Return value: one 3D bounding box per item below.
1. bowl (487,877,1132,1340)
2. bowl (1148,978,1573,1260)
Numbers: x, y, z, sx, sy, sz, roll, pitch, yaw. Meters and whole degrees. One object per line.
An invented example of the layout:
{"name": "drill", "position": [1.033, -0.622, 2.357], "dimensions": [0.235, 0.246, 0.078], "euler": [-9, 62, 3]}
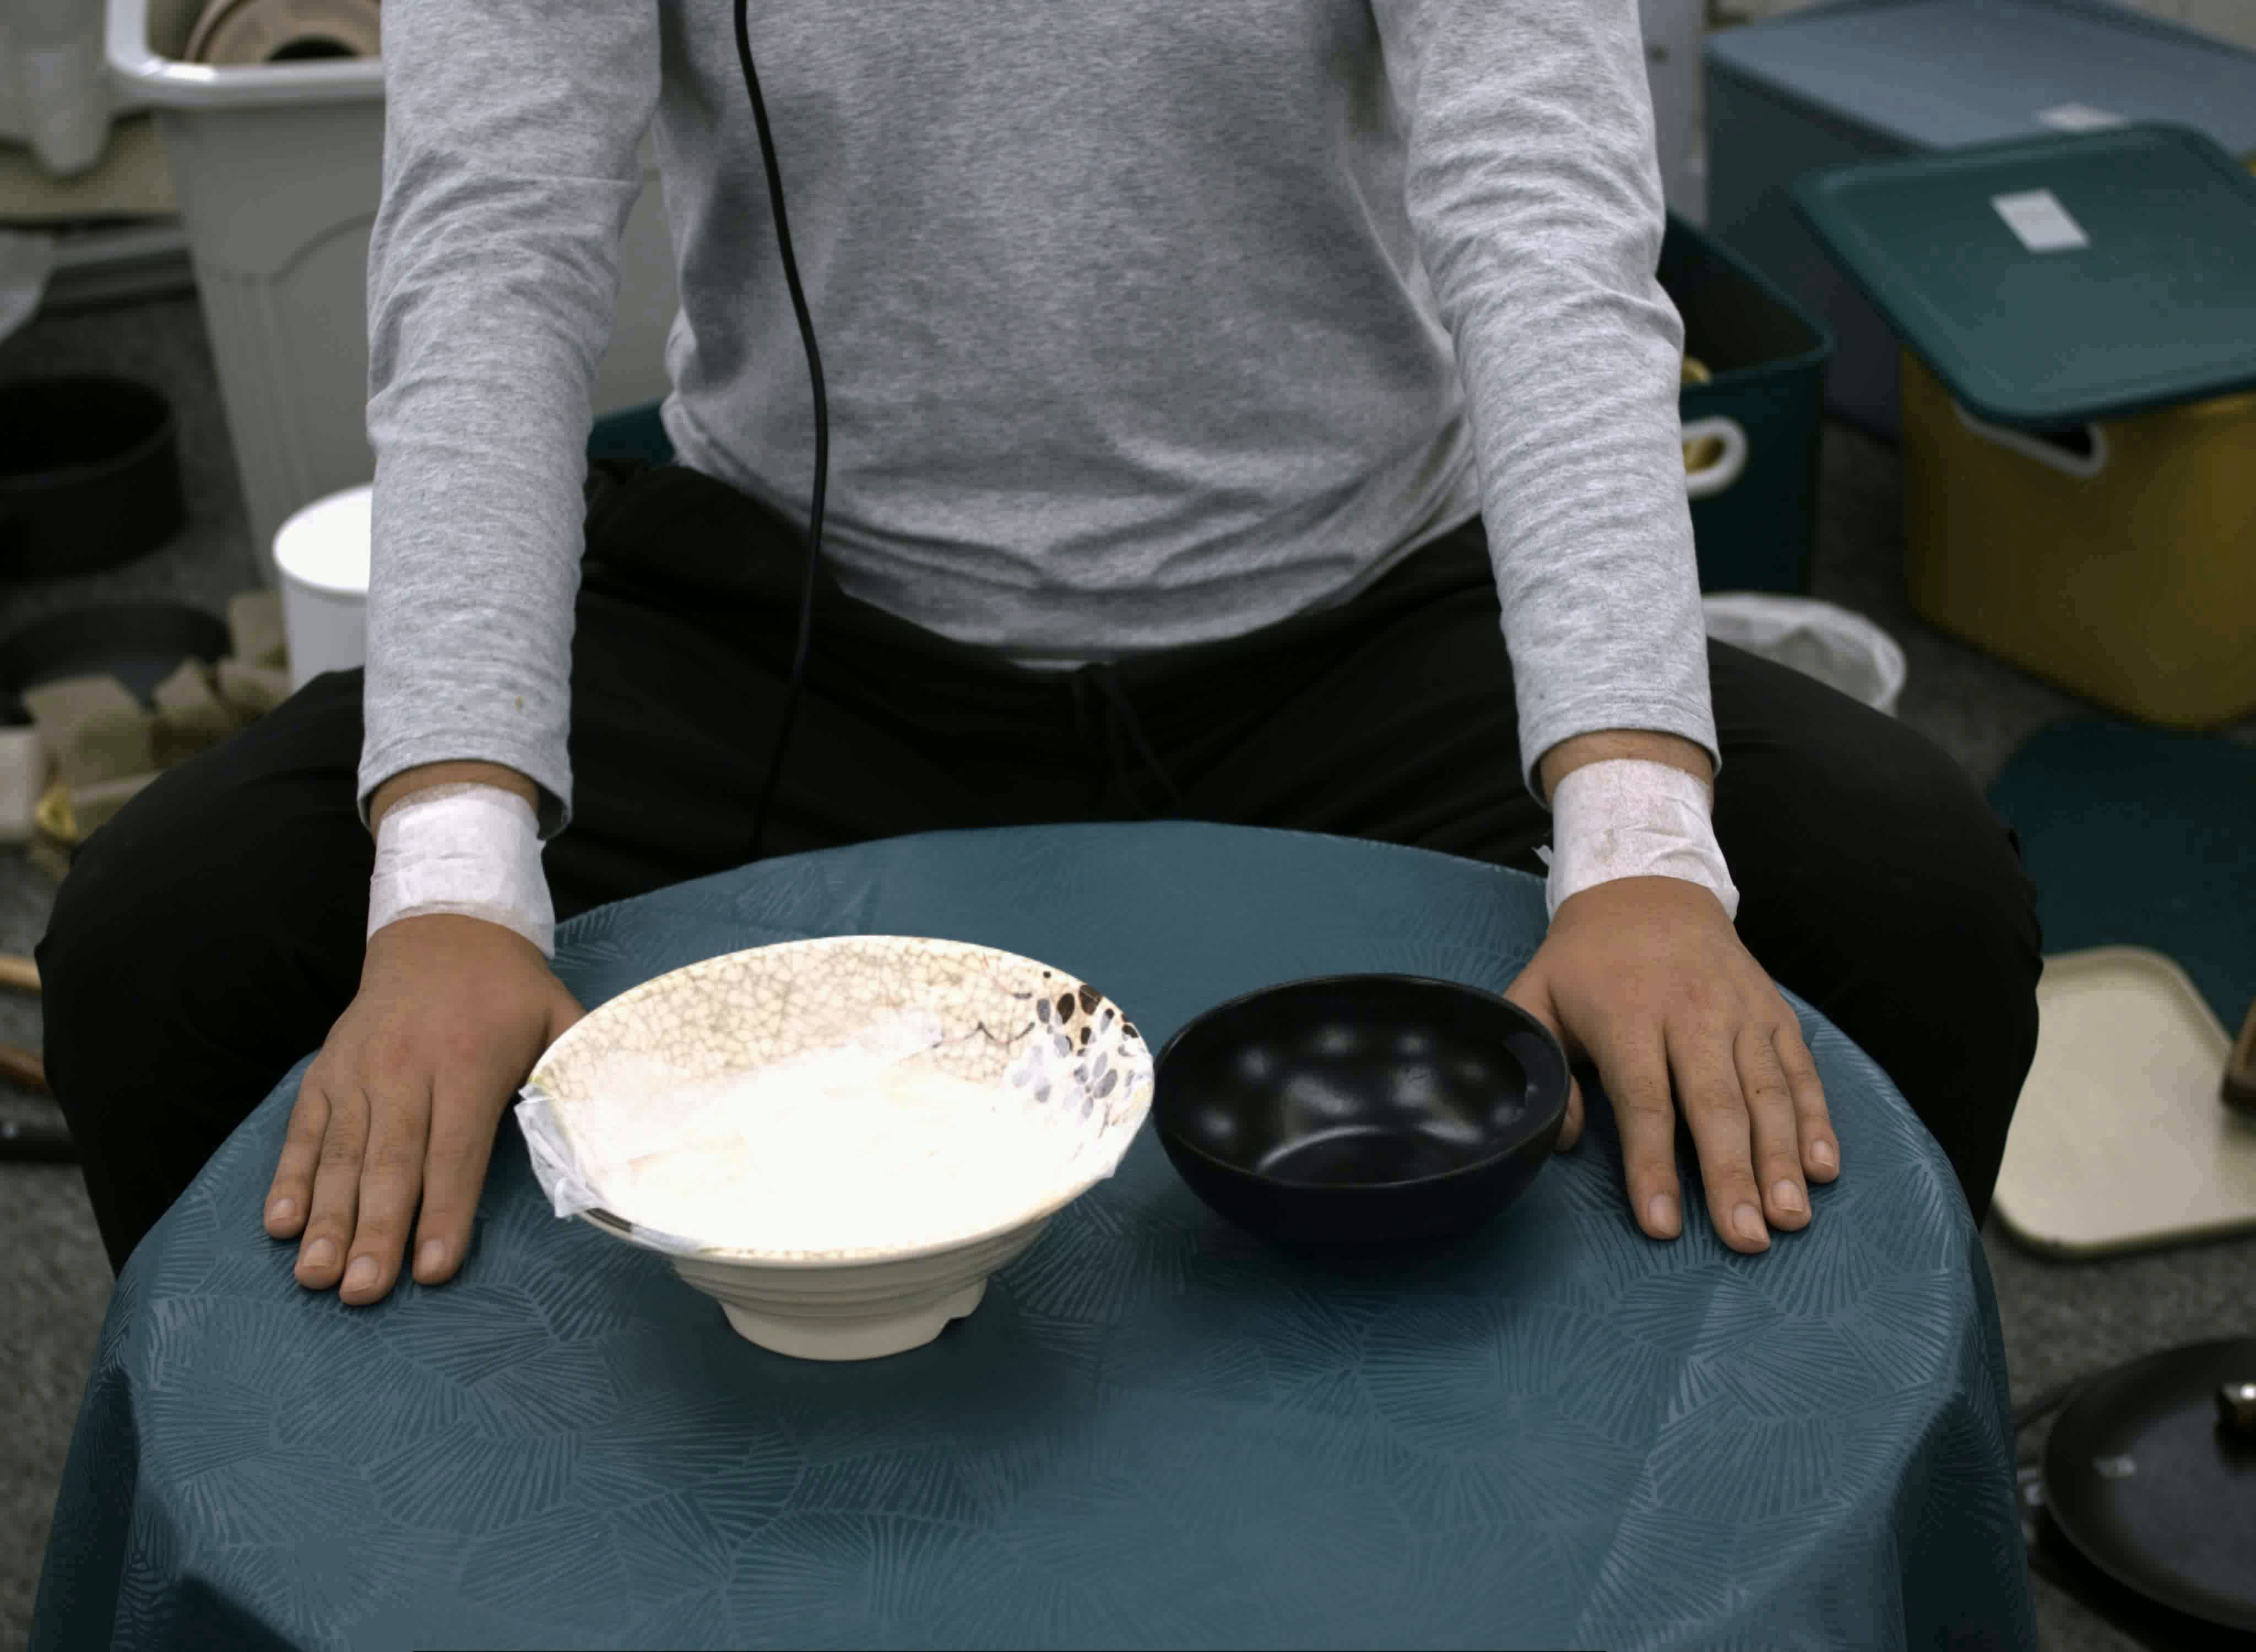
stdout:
{"name": "bowl", "position": [-0.100, 0.107, 1.789], "dimensions": [0.203, 0.077, 0.208], "euler": [0, 35, 0]}
{"name": "bowl", "position": [0.076, 0.103, 1.838], "dimensions": [0.139, 0.049, 0.142], "euler": [0, 25, 0]}
